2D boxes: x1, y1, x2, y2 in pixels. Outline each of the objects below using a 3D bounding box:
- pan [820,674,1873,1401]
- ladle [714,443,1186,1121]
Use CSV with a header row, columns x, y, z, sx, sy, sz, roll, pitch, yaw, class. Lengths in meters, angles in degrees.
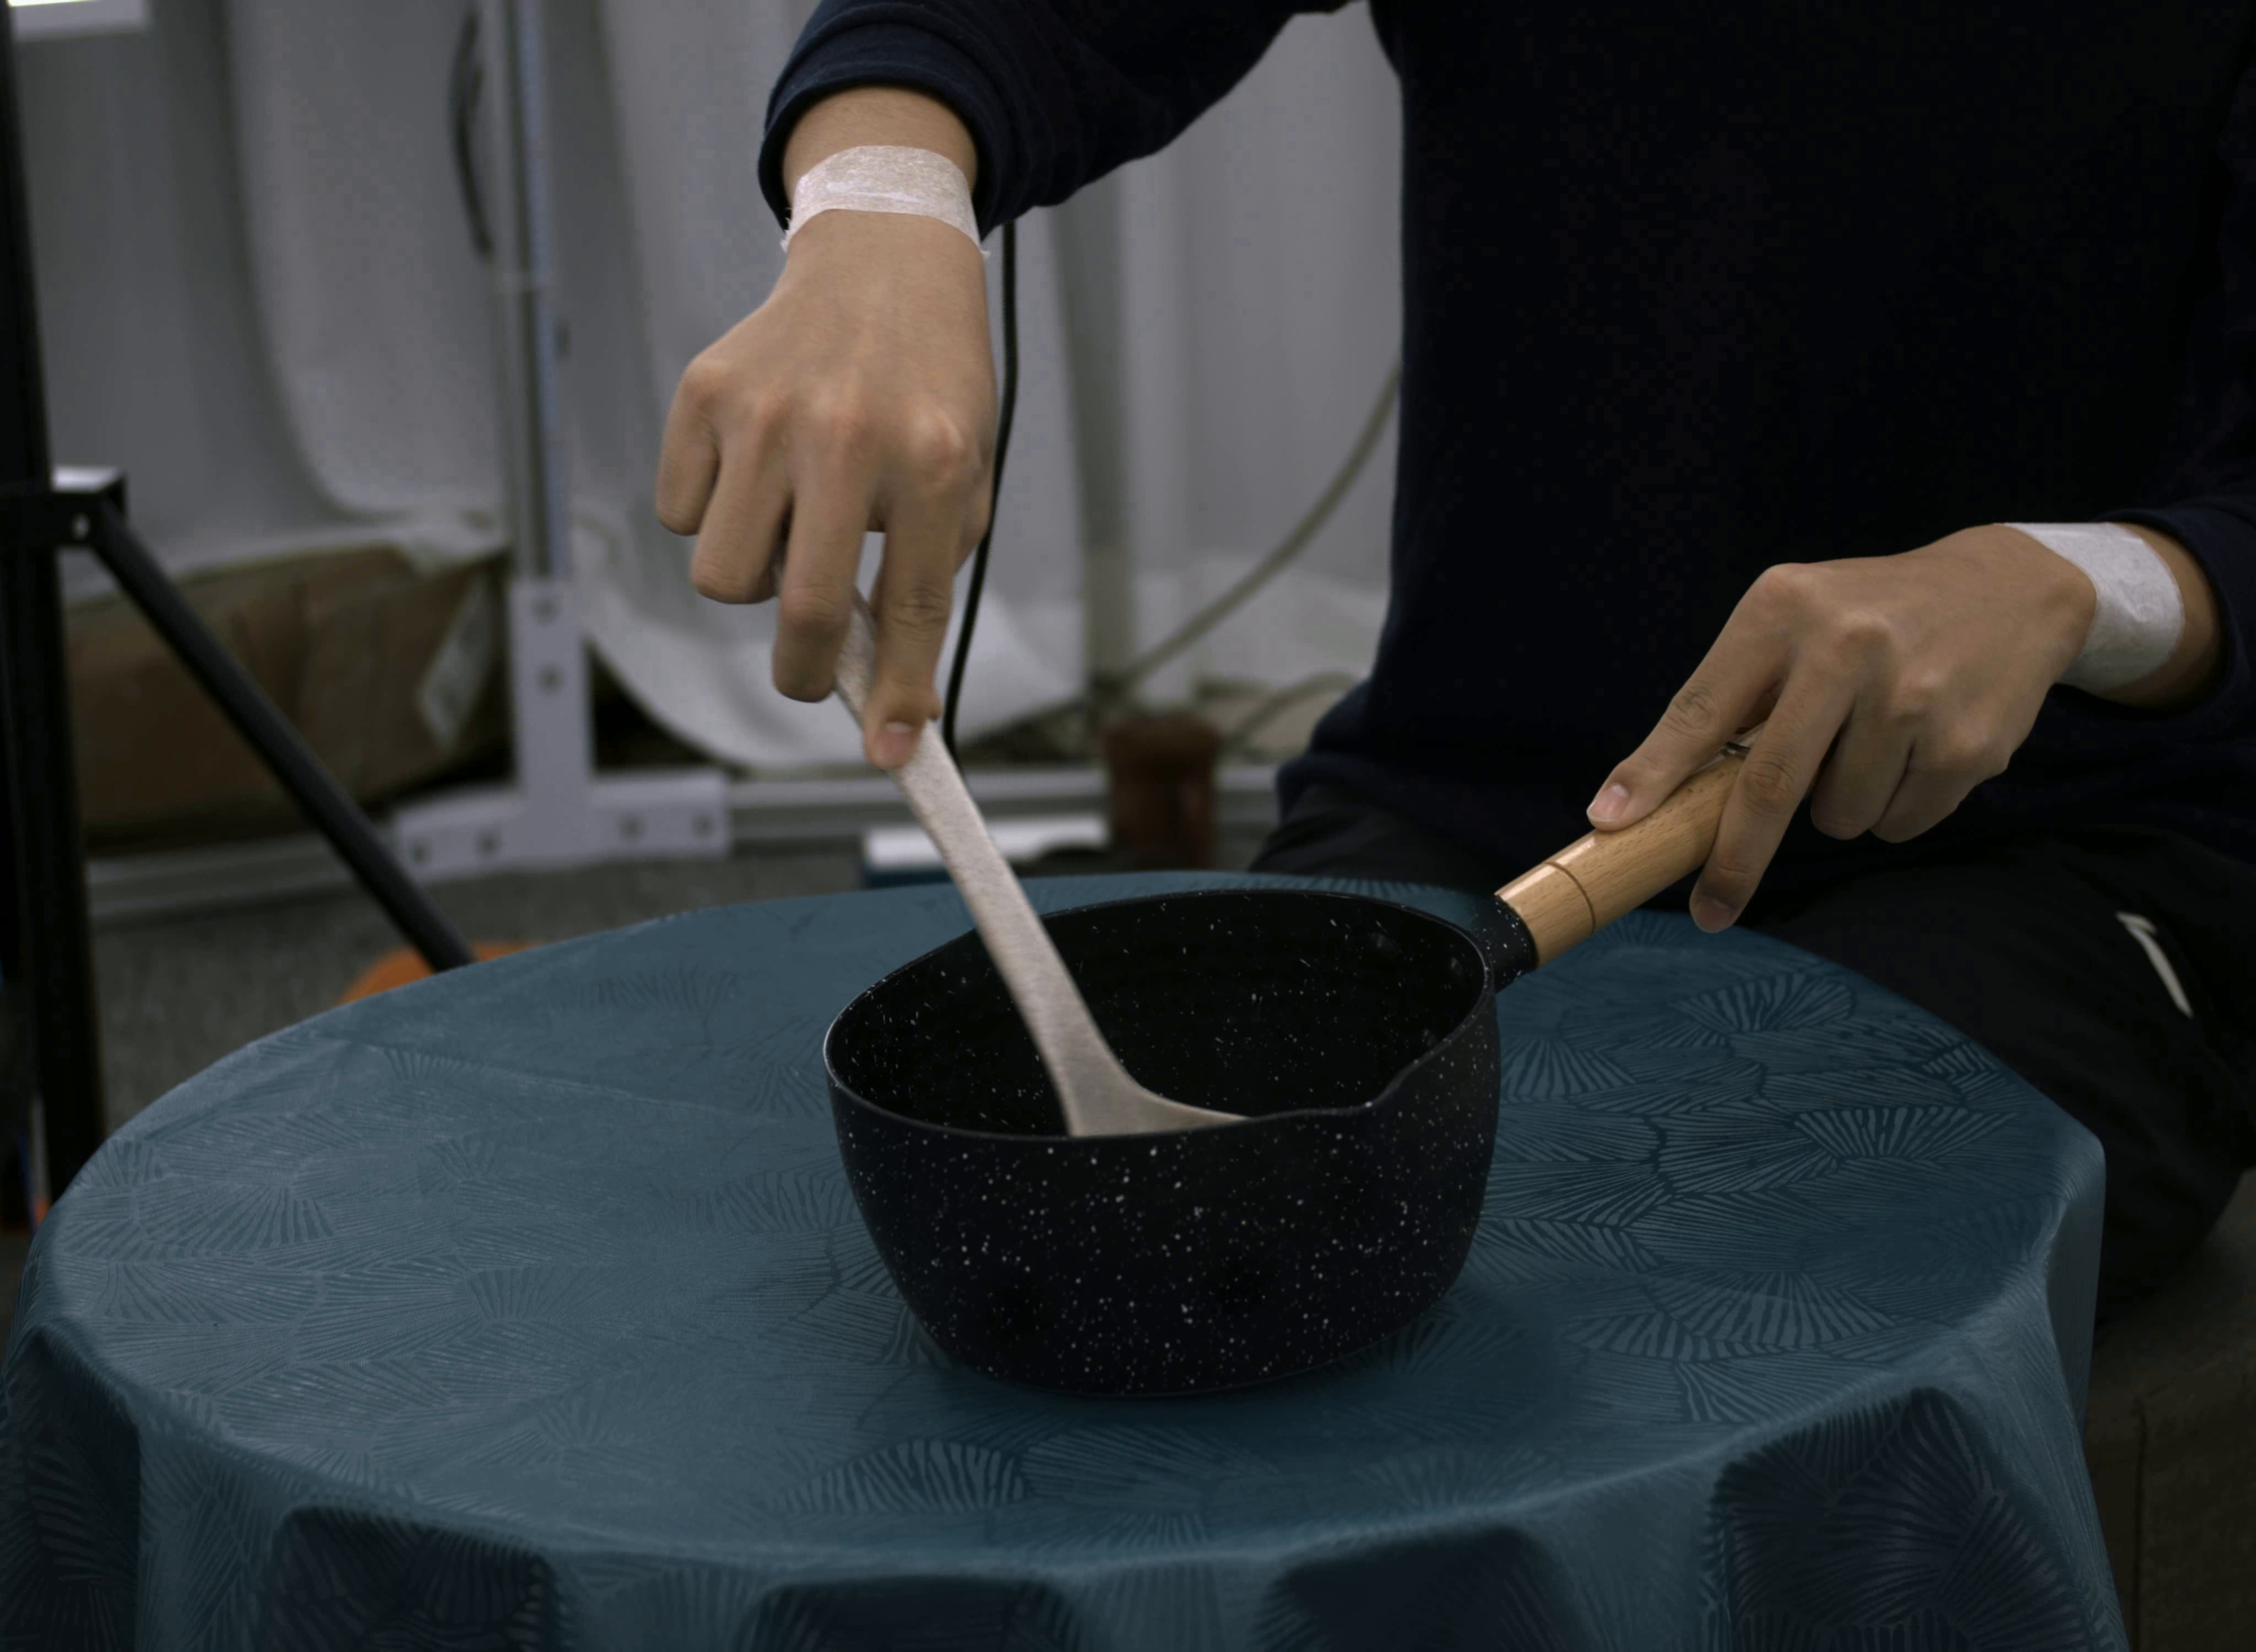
x,y,z,sx,sy,sz,roll,pitch,yaw,class
0.076,0.055,1.484,0.336,0.108,0.212,-20,21,-29,pan
-0.023,0.007,1.433,0.088,0.275,0.070,-28,0,-44,ladle
